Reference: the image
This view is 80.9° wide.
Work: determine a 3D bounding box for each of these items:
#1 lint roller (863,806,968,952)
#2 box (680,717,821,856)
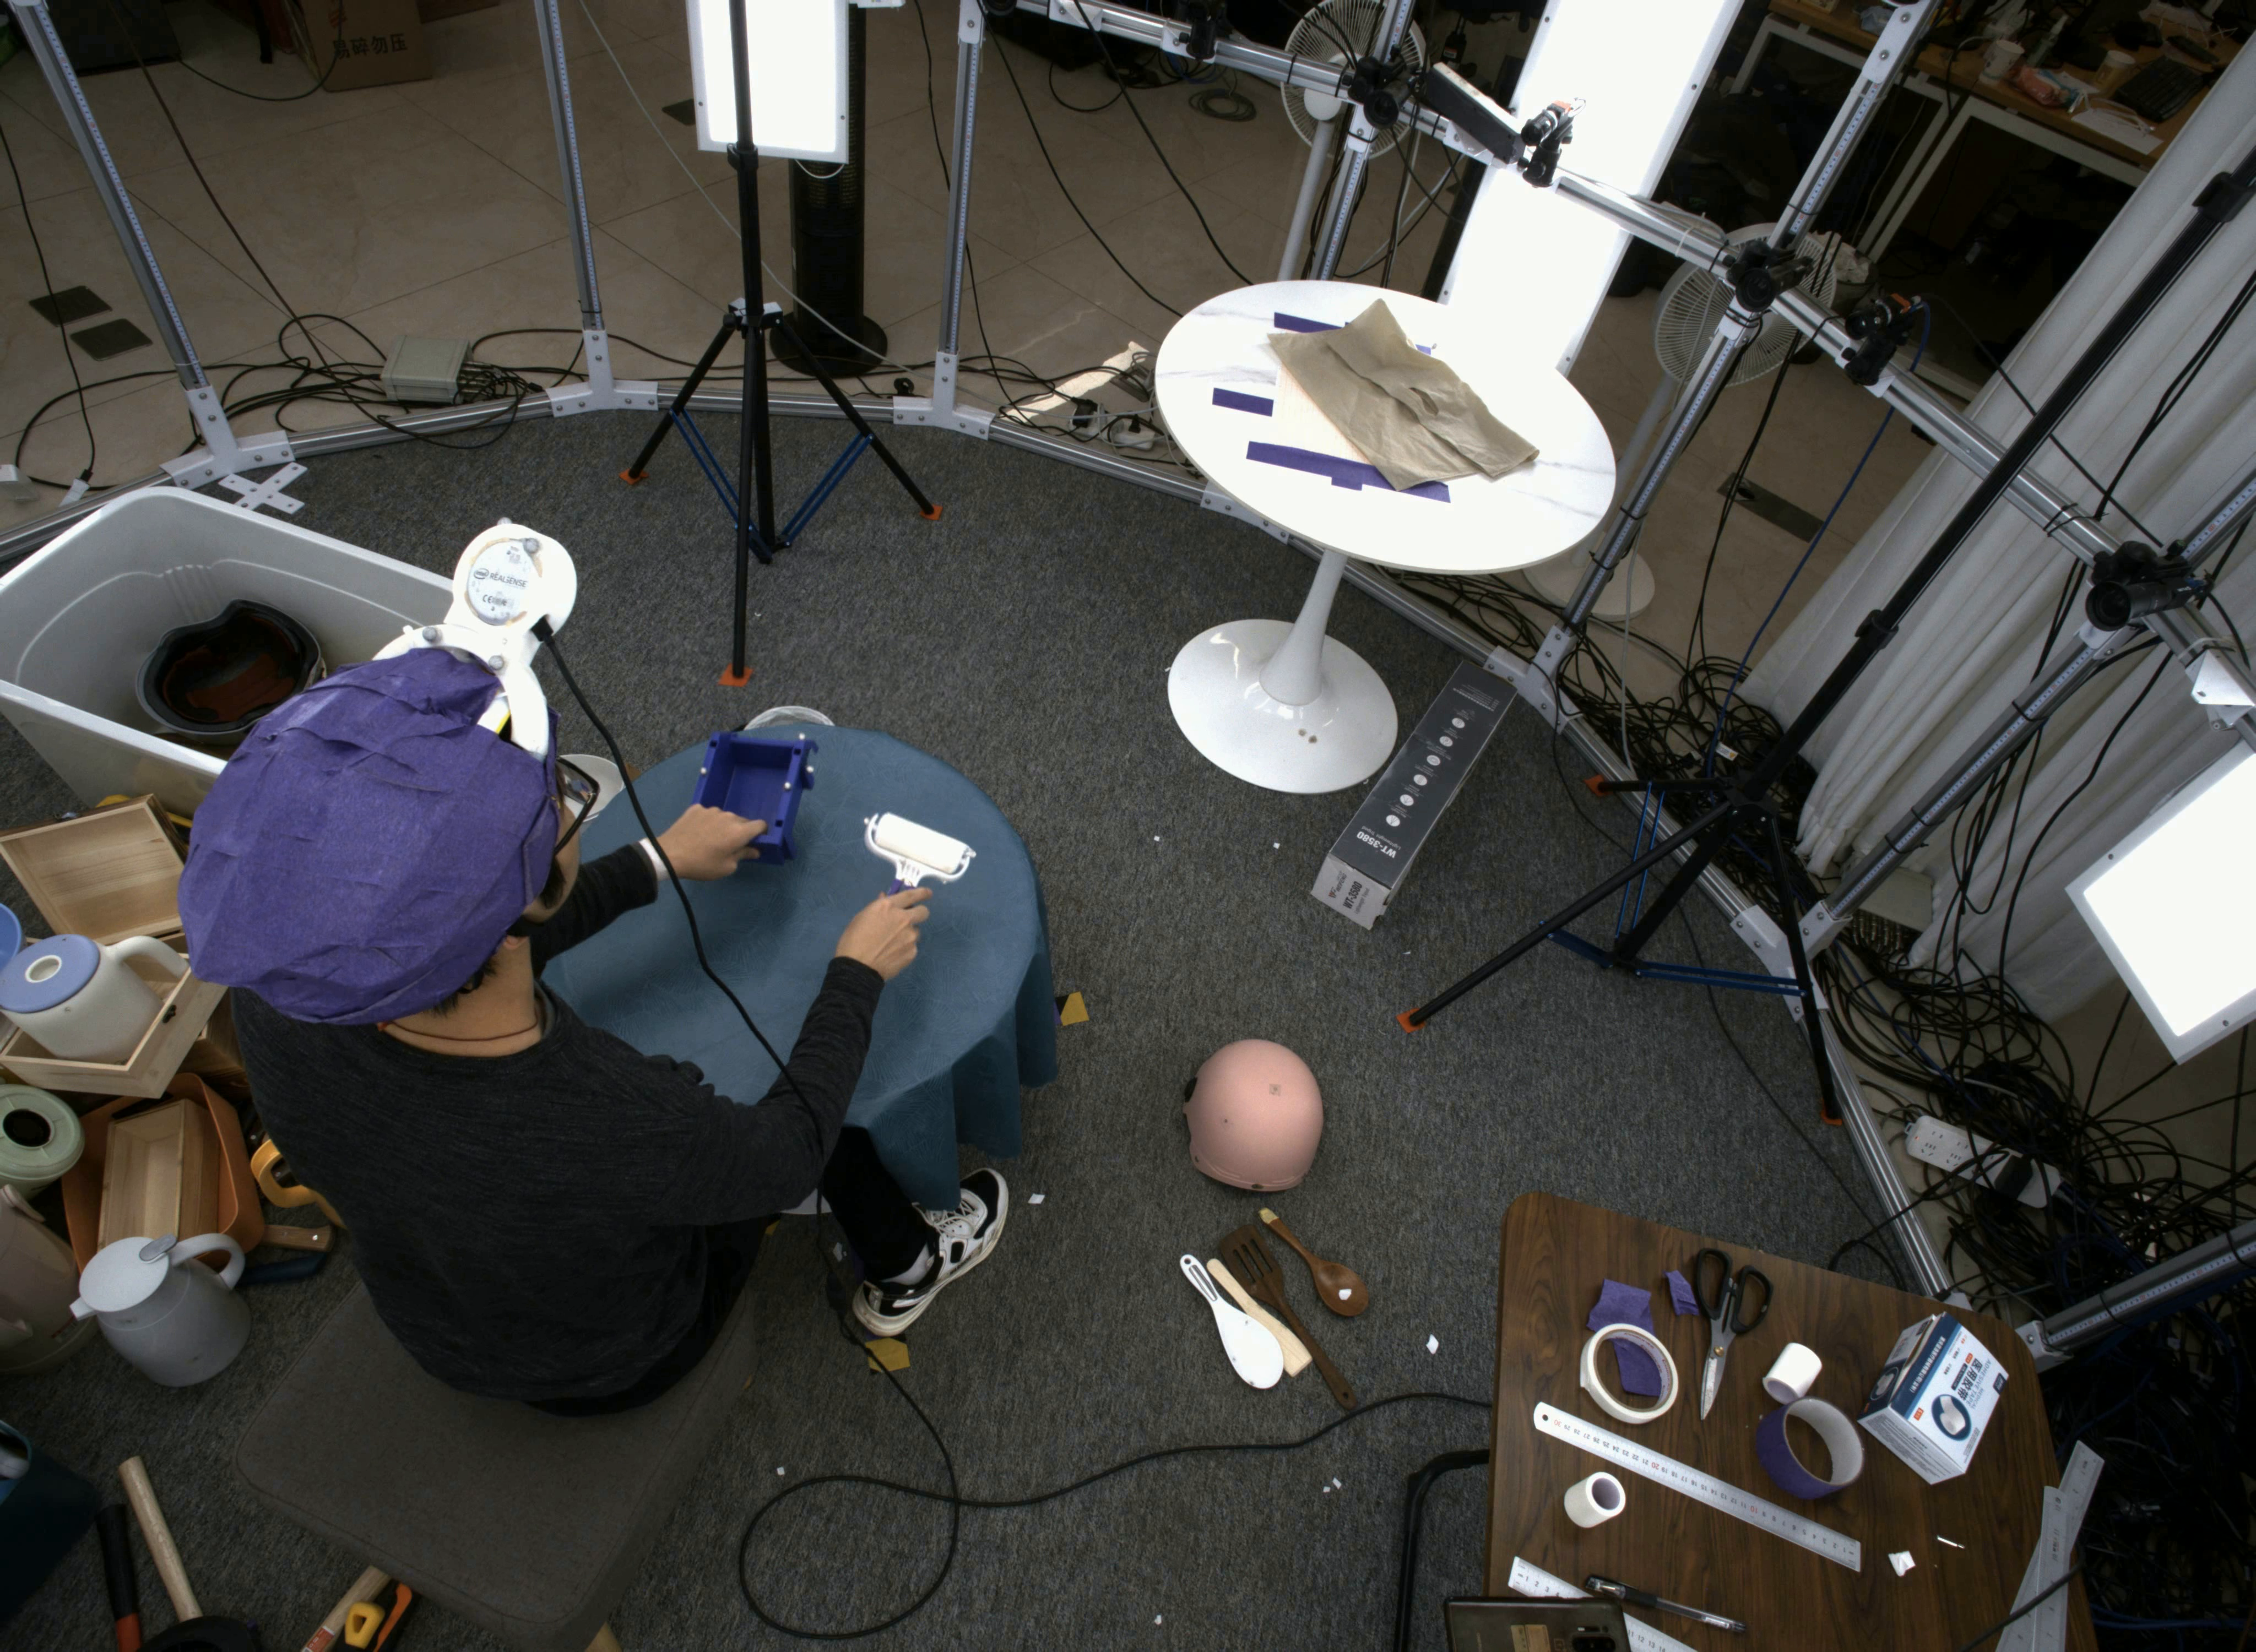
[{"bbox_3d":[-0.269,0.064,1.556,0.135,0.050,0.178,27,47,-19],"label":"lint roller"},{"bbox_3d":[-0.466,-0.056,1.604,0.123,0.083,0.178,6,65,2],"label":"box"}]
